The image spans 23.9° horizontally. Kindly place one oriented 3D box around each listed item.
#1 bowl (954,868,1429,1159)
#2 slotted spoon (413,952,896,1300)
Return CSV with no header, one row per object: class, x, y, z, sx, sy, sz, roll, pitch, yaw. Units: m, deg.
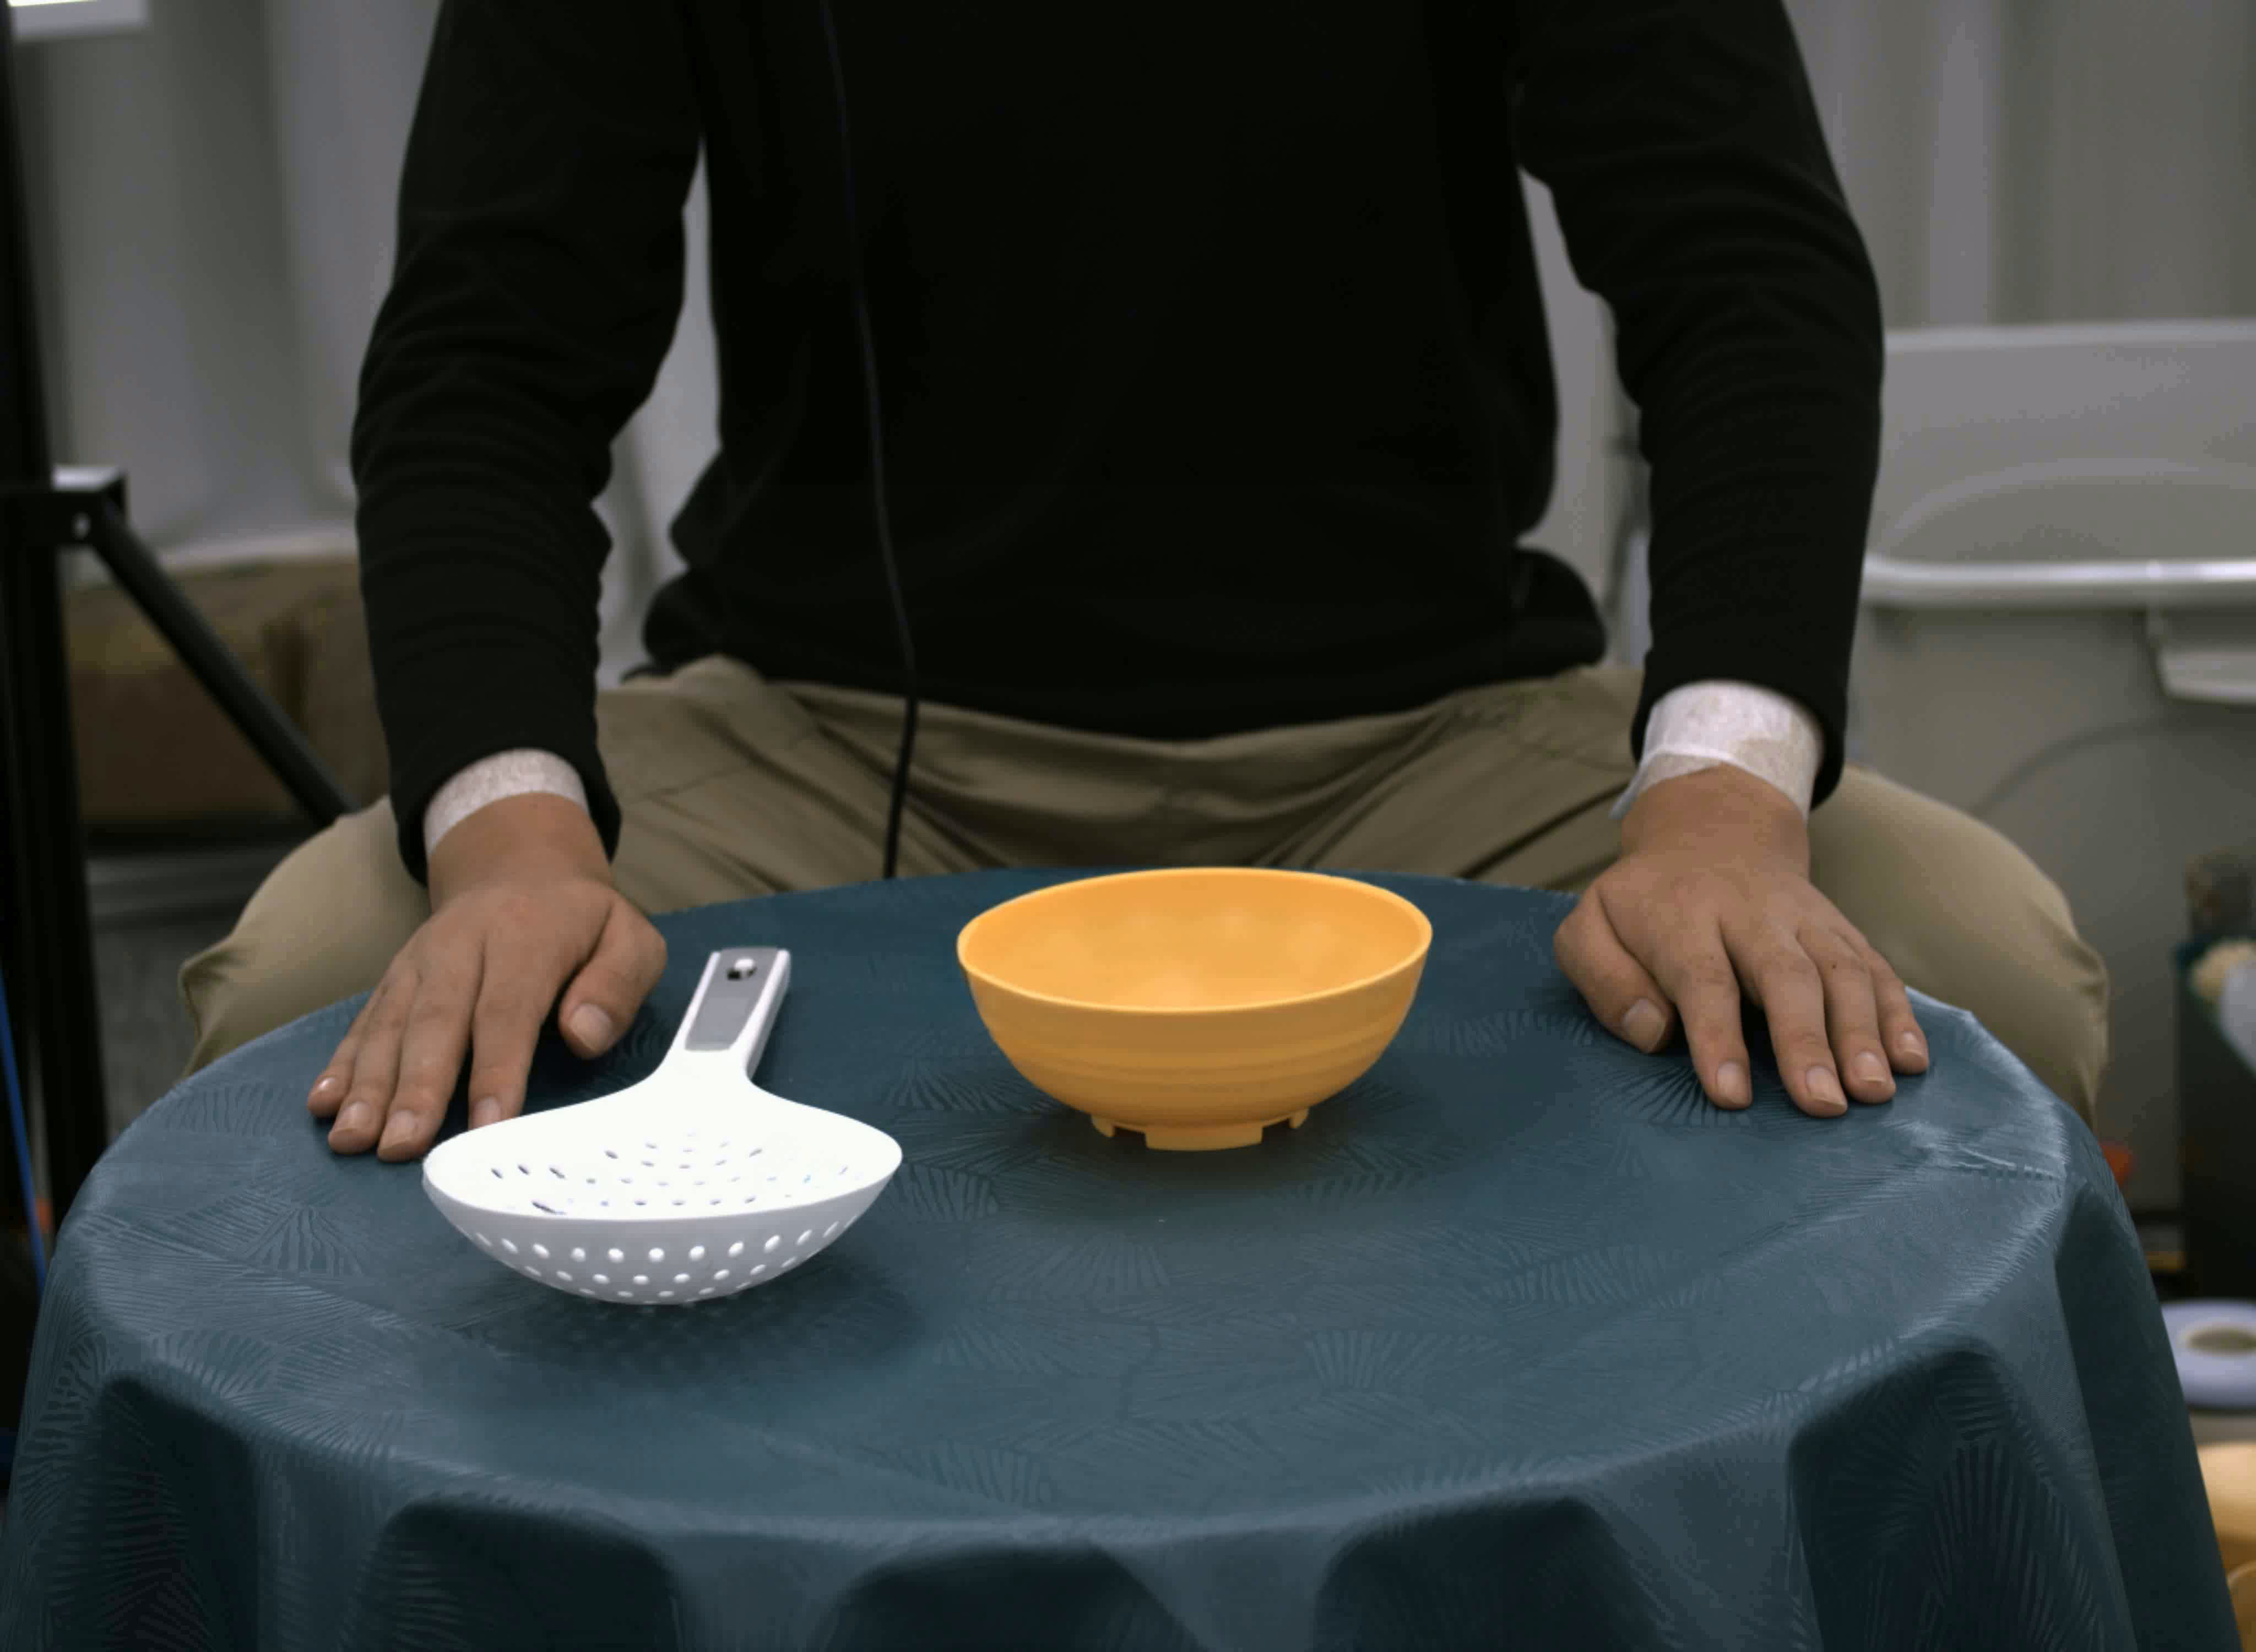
bowl,0.019,0.062,1.615,0.144,0.060,0.146,-1,16,-1
slotted spoon,-0.130,0.080,1.593,0.135,0.046,0.350,-1,15,2
